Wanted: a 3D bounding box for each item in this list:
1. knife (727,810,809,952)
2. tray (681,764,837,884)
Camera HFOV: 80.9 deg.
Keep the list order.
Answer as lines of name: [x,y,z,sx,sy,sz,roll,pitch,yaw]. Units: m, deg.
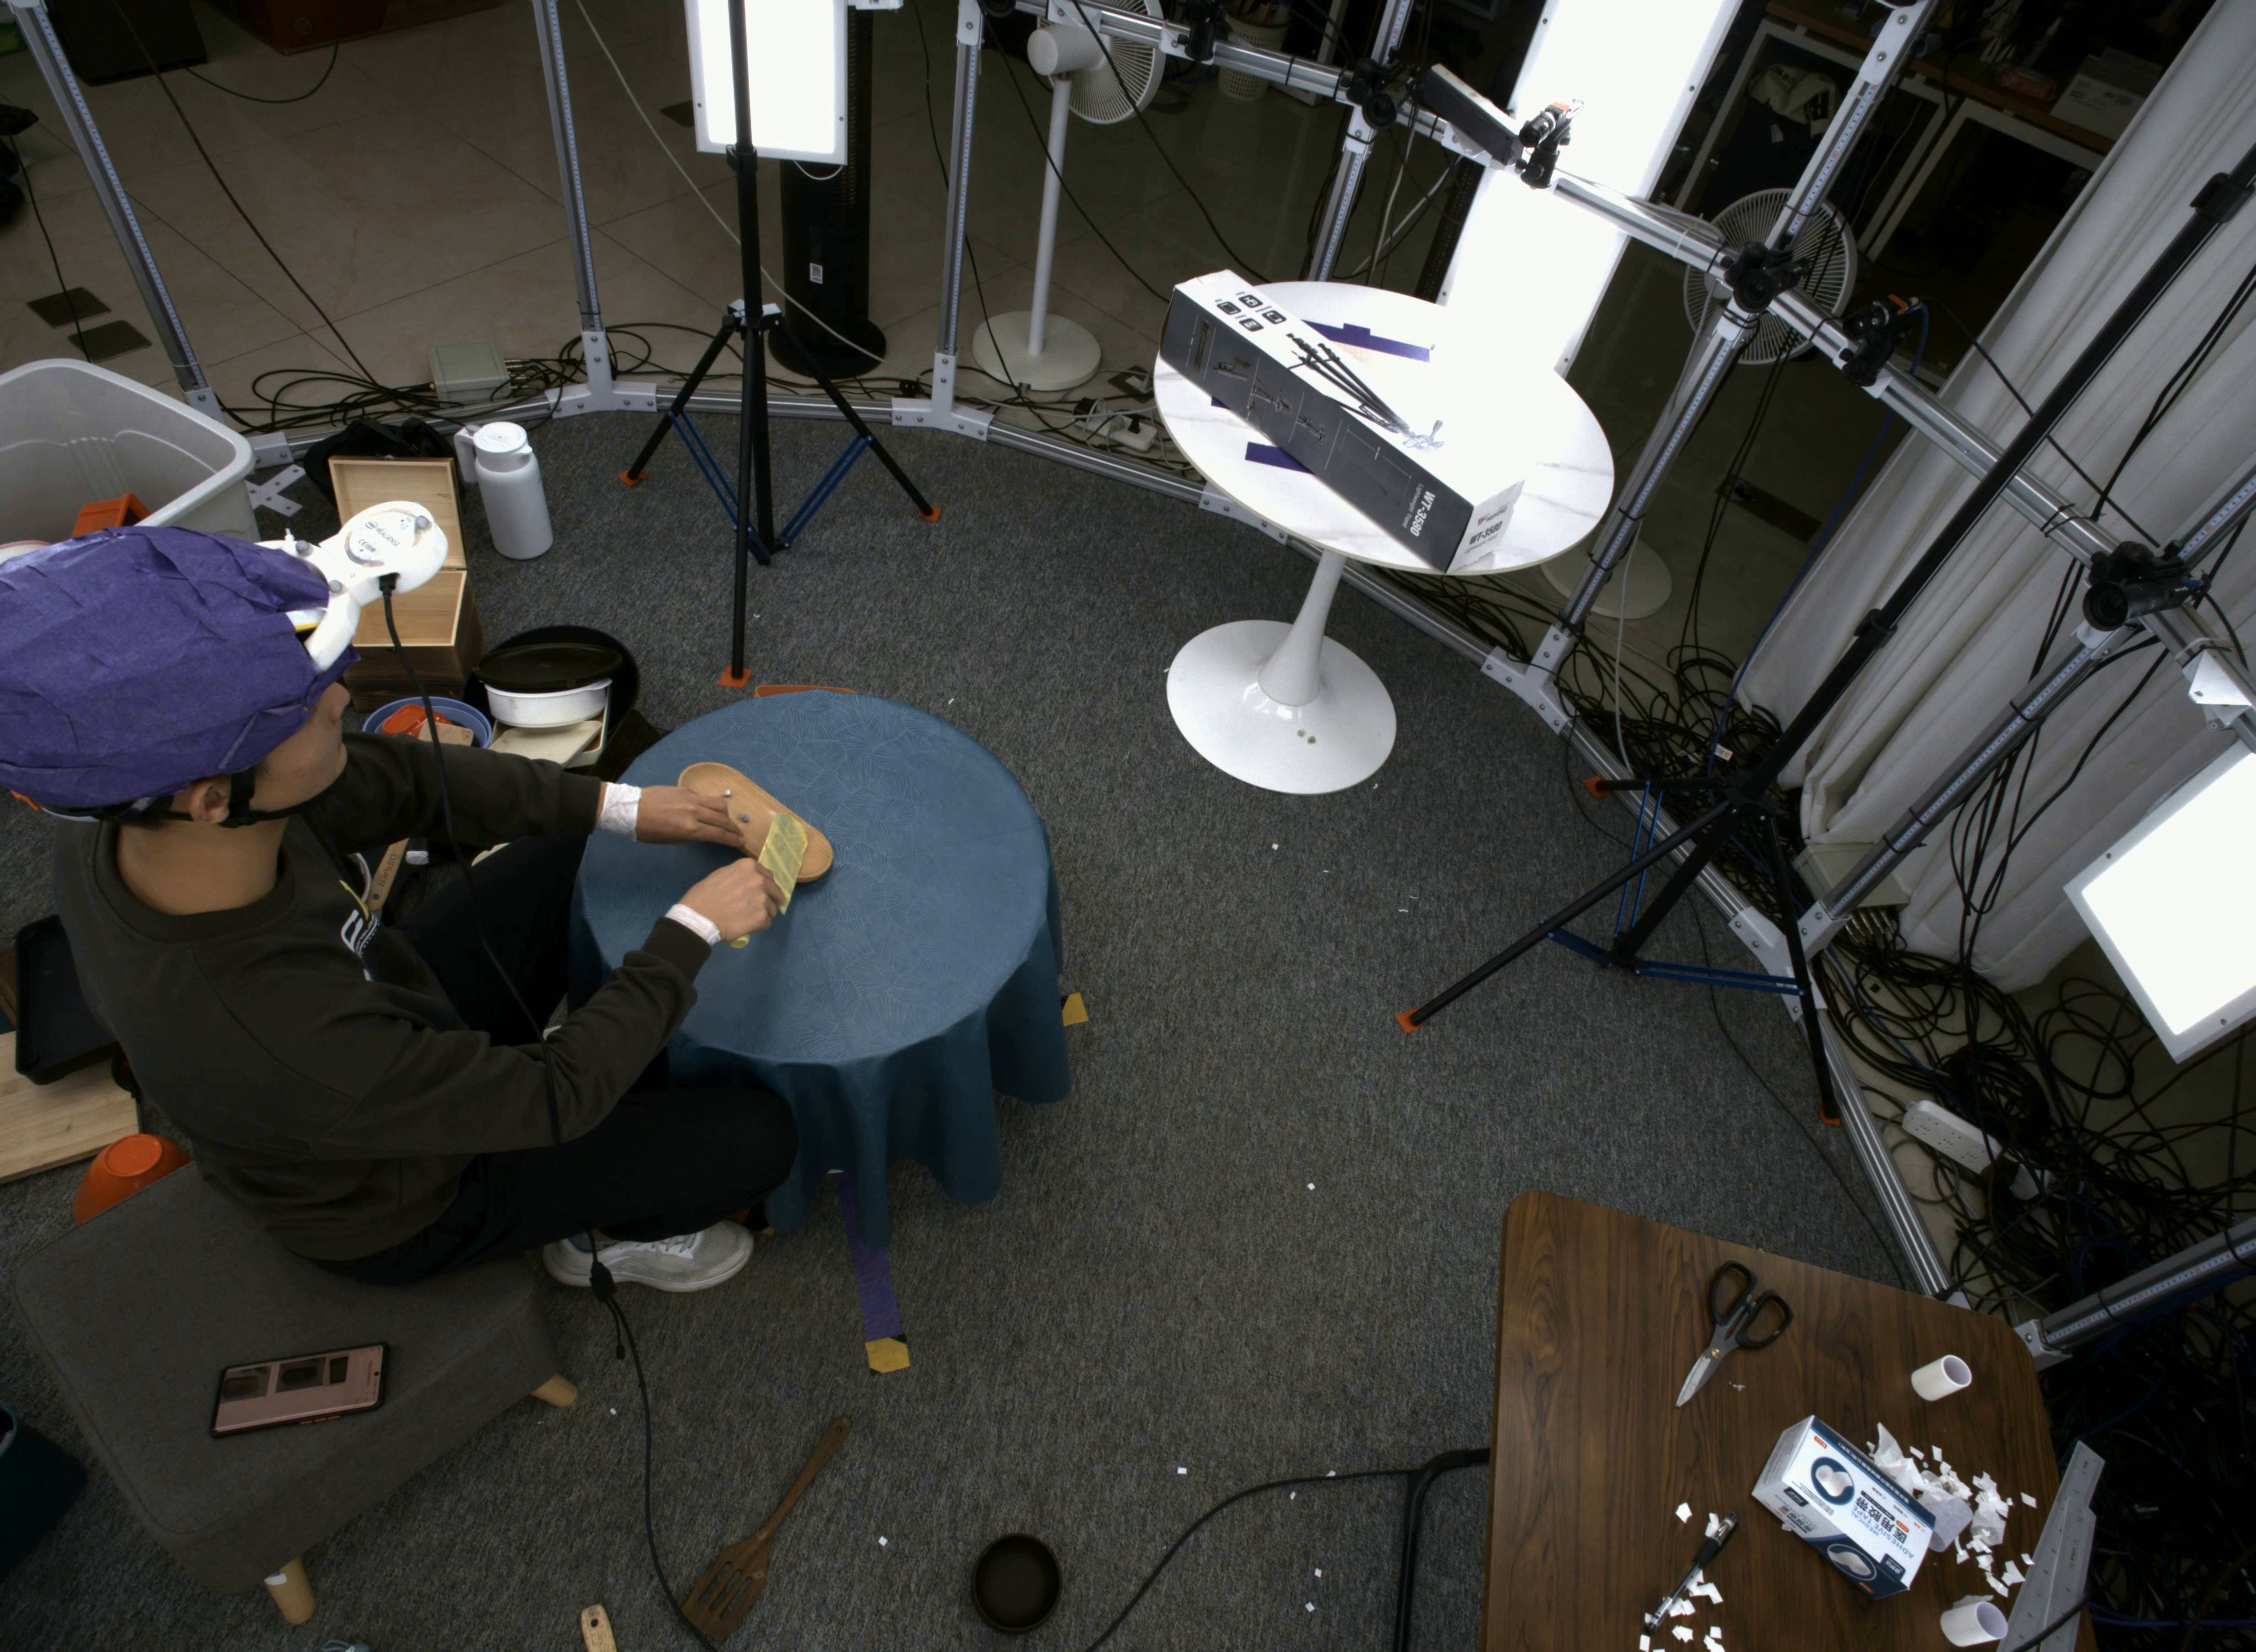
knife: [-0.433,0.066,1.579,0.027,0.084,0.284,-19,29,15]
tray: [-0.482,-0.004,1.686,0.230,0.020,0.101,37,39,2]
